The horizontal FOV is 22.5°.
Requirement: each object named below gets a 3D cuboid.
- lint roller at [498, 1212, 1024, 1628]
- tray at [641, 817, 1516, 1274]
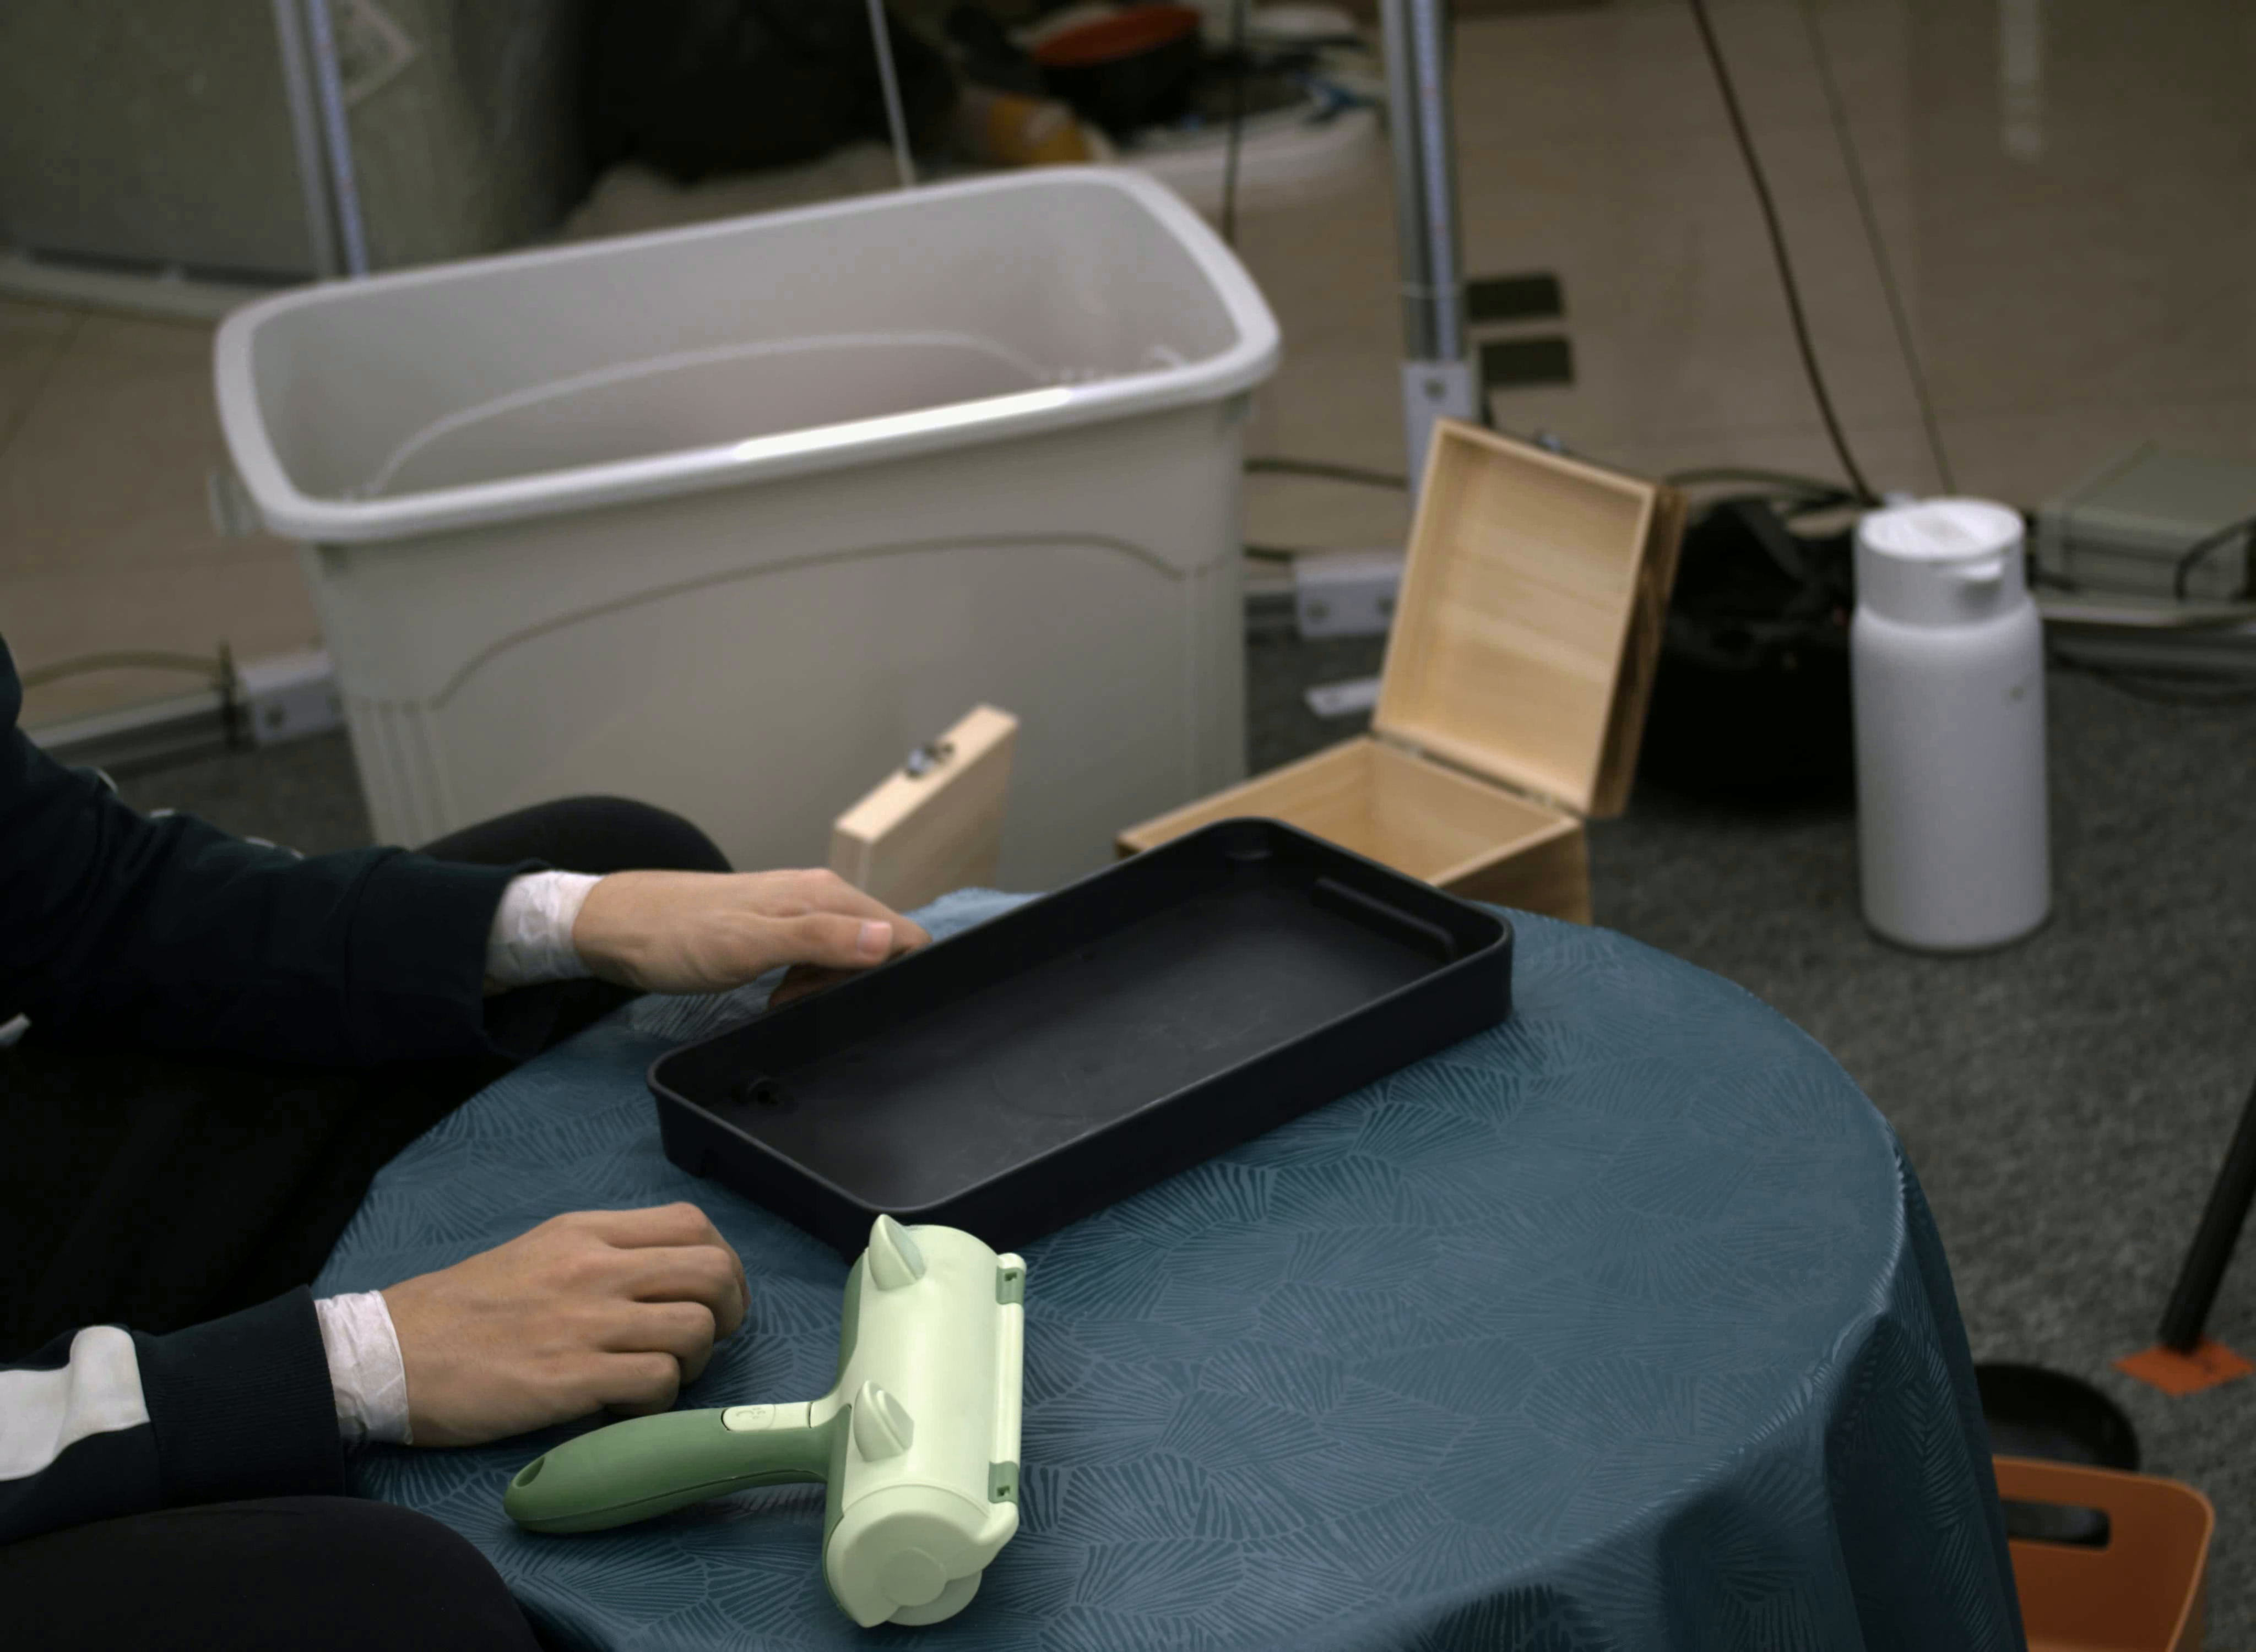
[{"bbox_3d":[-0.128,0.199,1.951,0.183,0.083,0.195,-2,25,1],"label":"lint roller"},{"bbox_3d":[-0.017,0.084,2.224,0.316,0.037,0.182,-23,29,-31],"label":"tray"}]
